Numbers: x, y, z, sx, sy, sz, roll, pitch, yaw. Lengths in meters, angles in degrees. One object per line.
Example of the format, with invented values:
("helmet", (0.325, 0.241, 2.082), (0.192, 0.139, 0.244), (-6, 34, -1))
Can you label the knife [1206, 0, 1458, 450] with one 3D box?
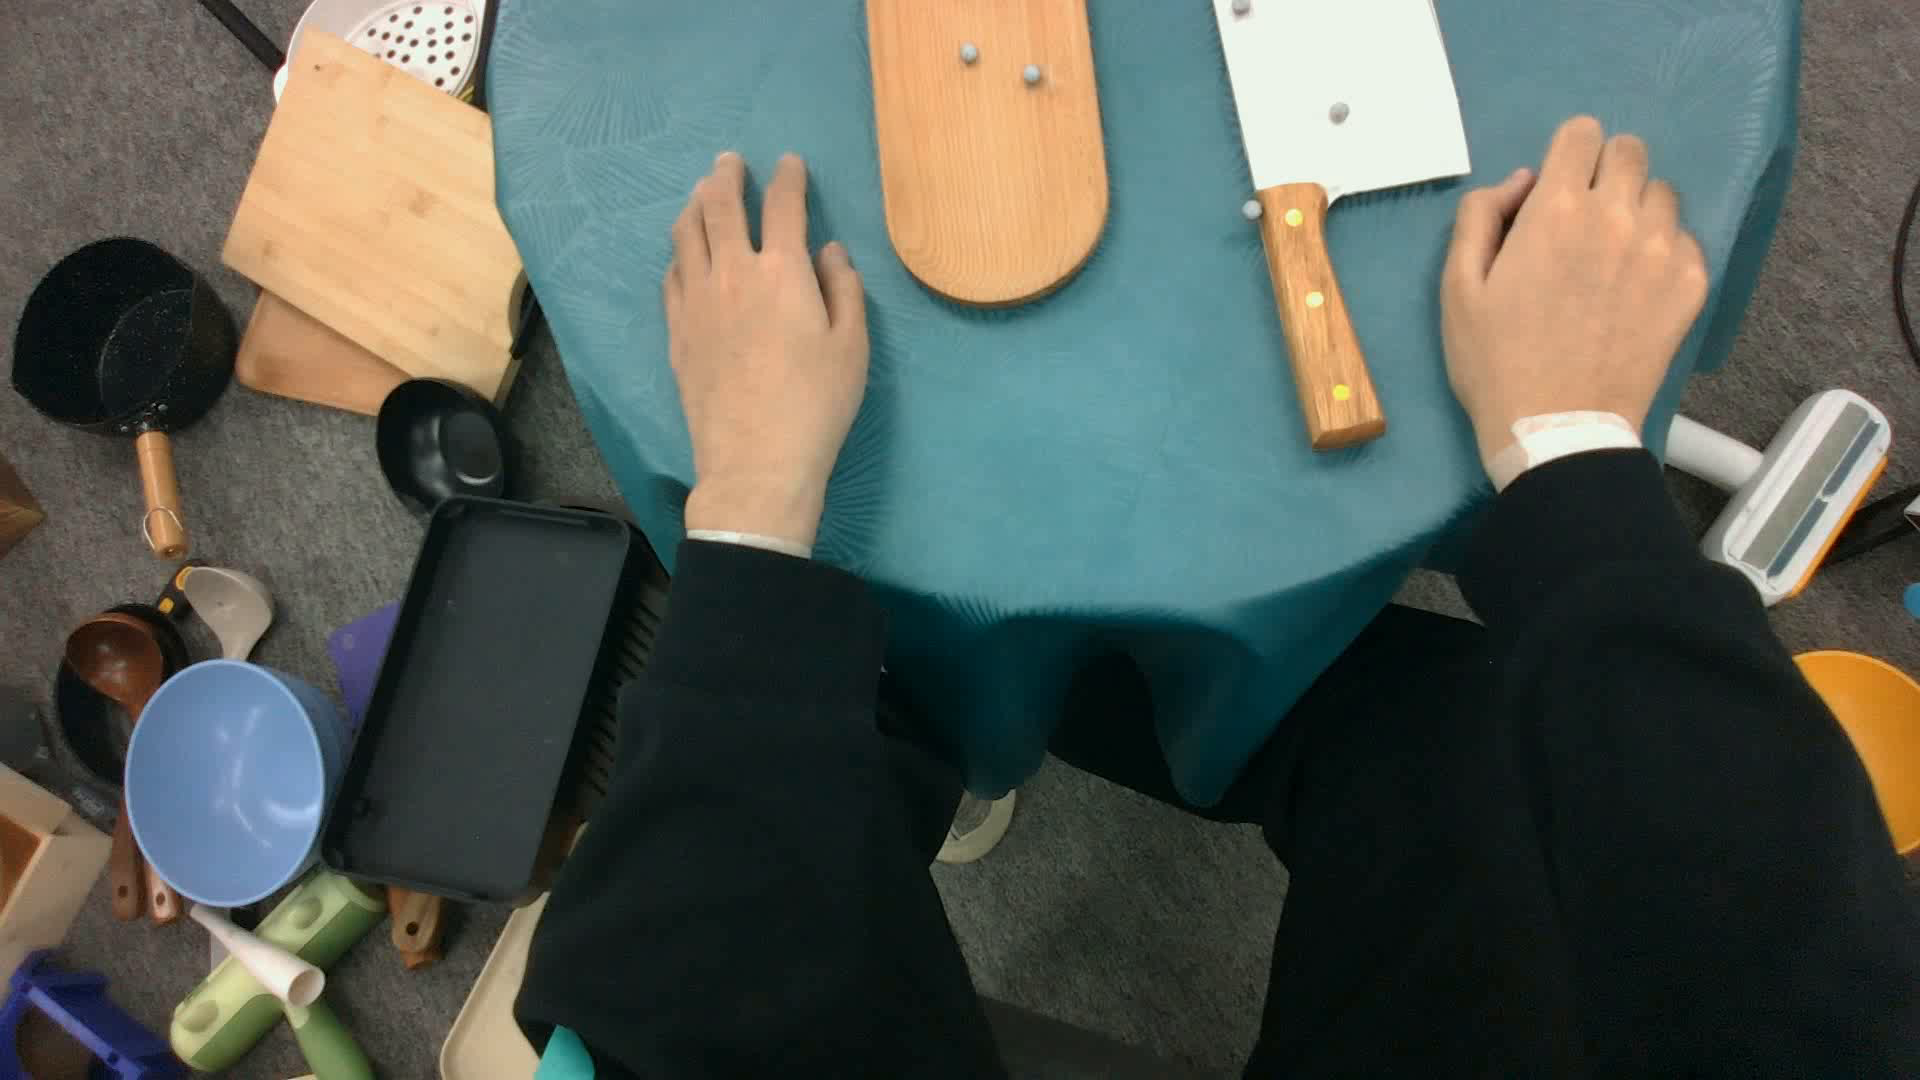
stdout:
("knife", (0.163, -0.187, 0.600), (0.093, 0.021, 0.306), (-9, 72, 4))

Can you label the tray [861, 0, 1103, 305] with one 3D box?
("tray", (0.008, -0.214, 0.630), (0.101, 0.020, 0.231), (-7, 76, 8))
